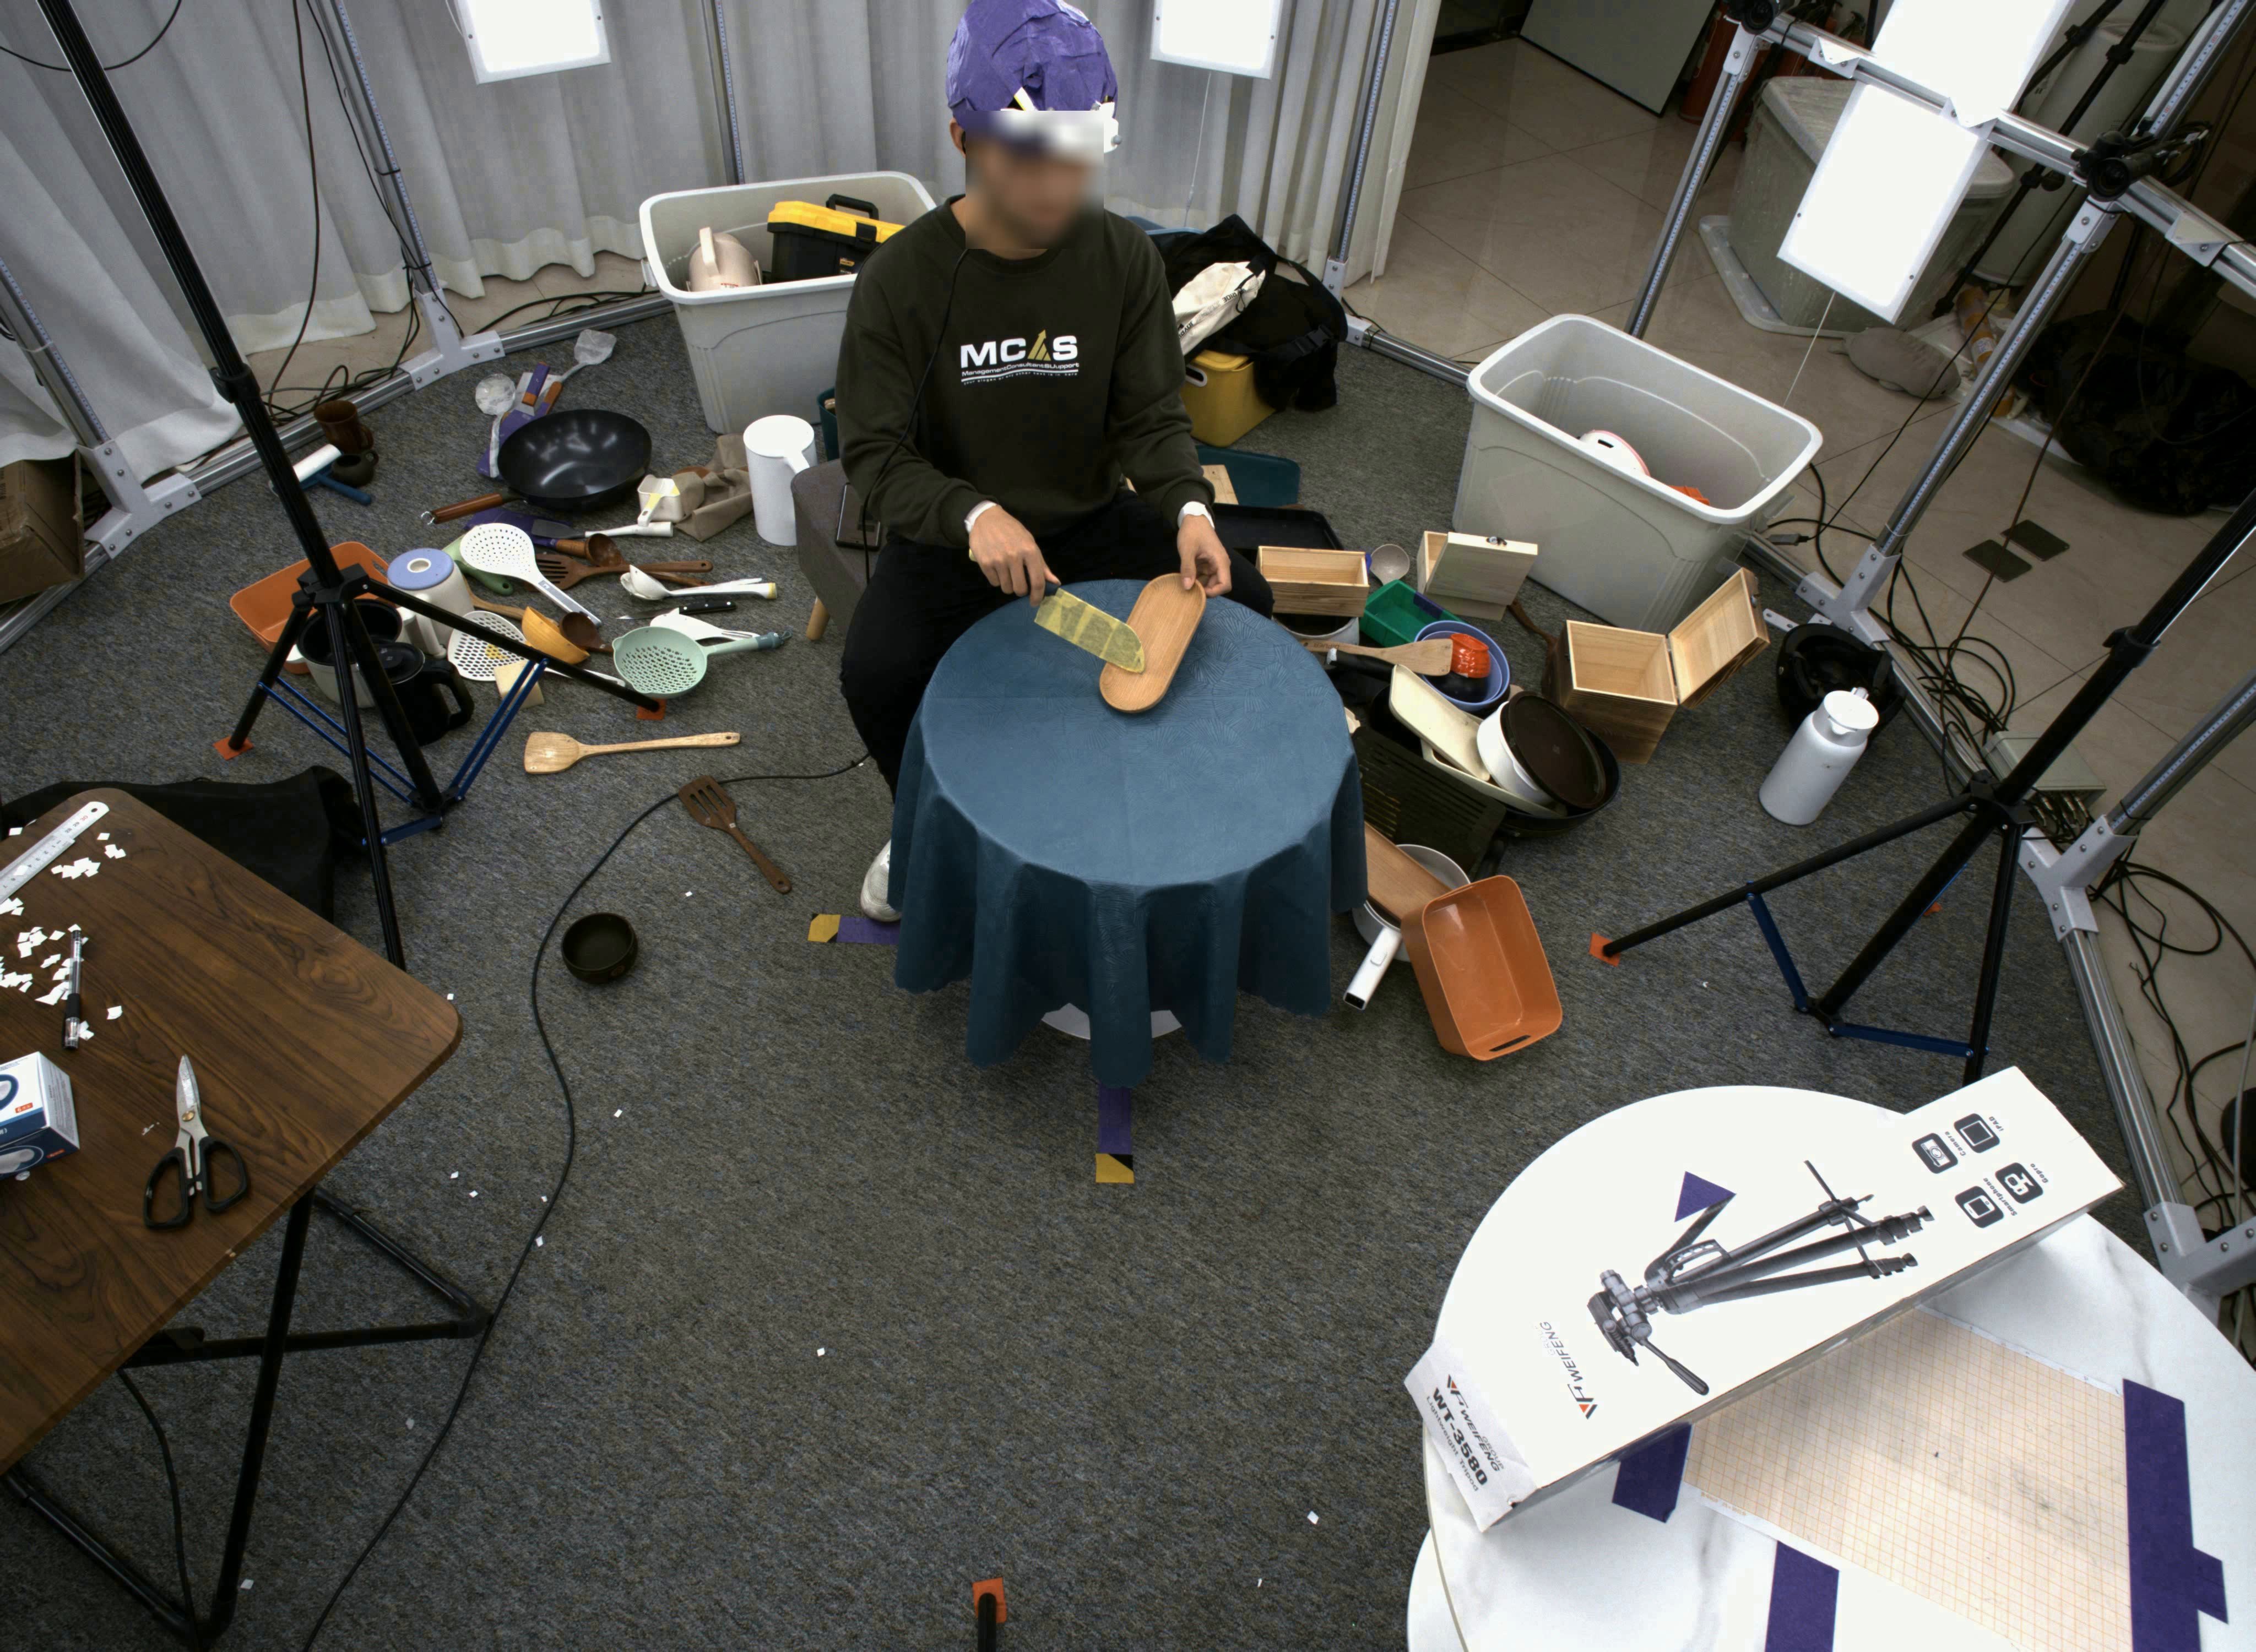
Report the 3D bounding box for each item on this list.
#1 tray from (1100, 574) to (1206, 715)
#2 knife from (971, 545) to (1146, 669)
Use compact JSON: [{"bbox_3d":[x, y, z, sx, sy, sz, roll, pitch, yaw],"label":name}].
[{"bbox_3d":[0.037,-0.260,1.832,0.102,0.020,0.234,17,72,24],"label":"tray"},{"bbox_3d":[-0.098,-0.306,1.808,0.290,0.079,0.028,32,39,2],"label":"knife"}]
